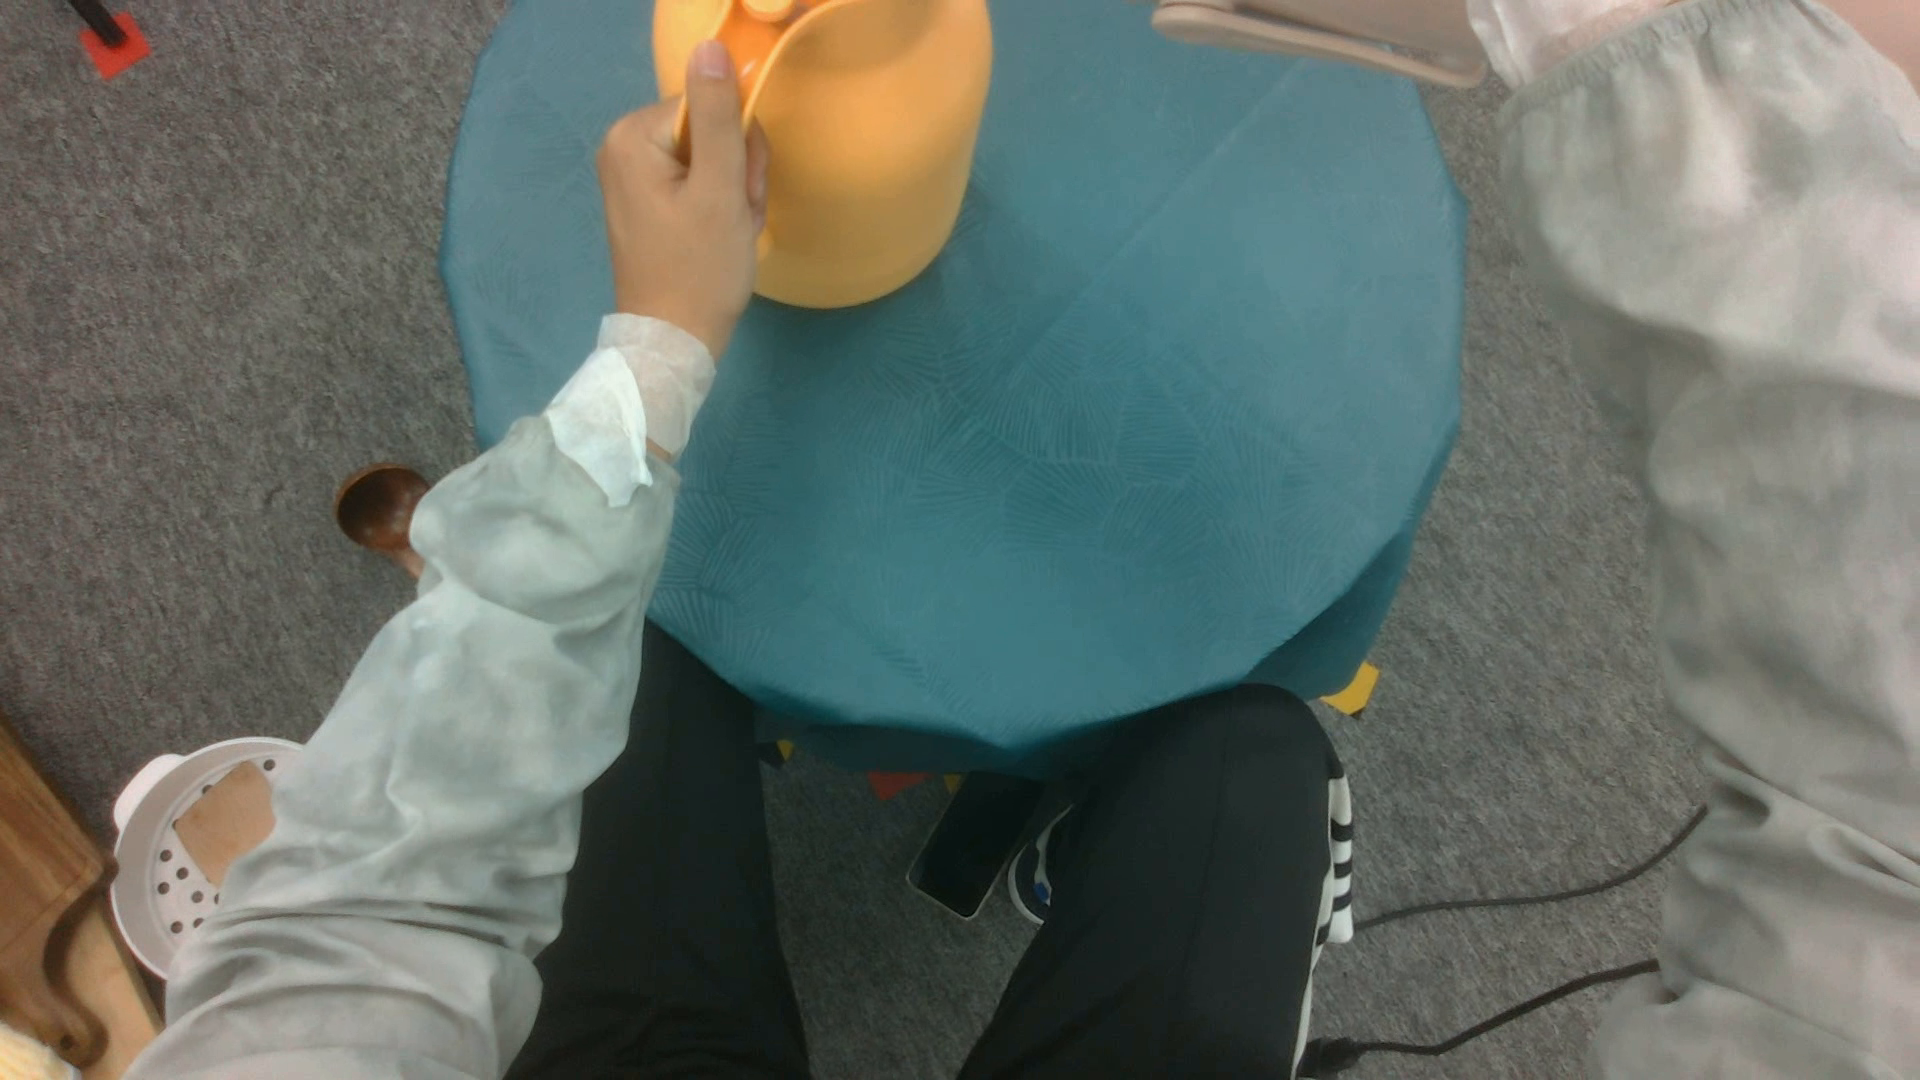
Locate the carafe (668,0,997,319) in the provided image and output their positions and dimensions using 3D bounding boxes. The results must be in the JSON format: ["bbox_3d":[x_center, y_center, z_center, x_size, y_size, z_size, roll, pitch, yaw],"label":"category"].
[{"bbox_3d":[-0.073,-0.213,0.682,0.163,0.259,0.203,27,72,3],"label":"carafe"}]

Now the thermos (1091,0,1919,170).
[{"bbox_3d":[0.166,-0.239,0.462,0.406,0.207,0.175,11,98,0],"label":"thermos"}]
